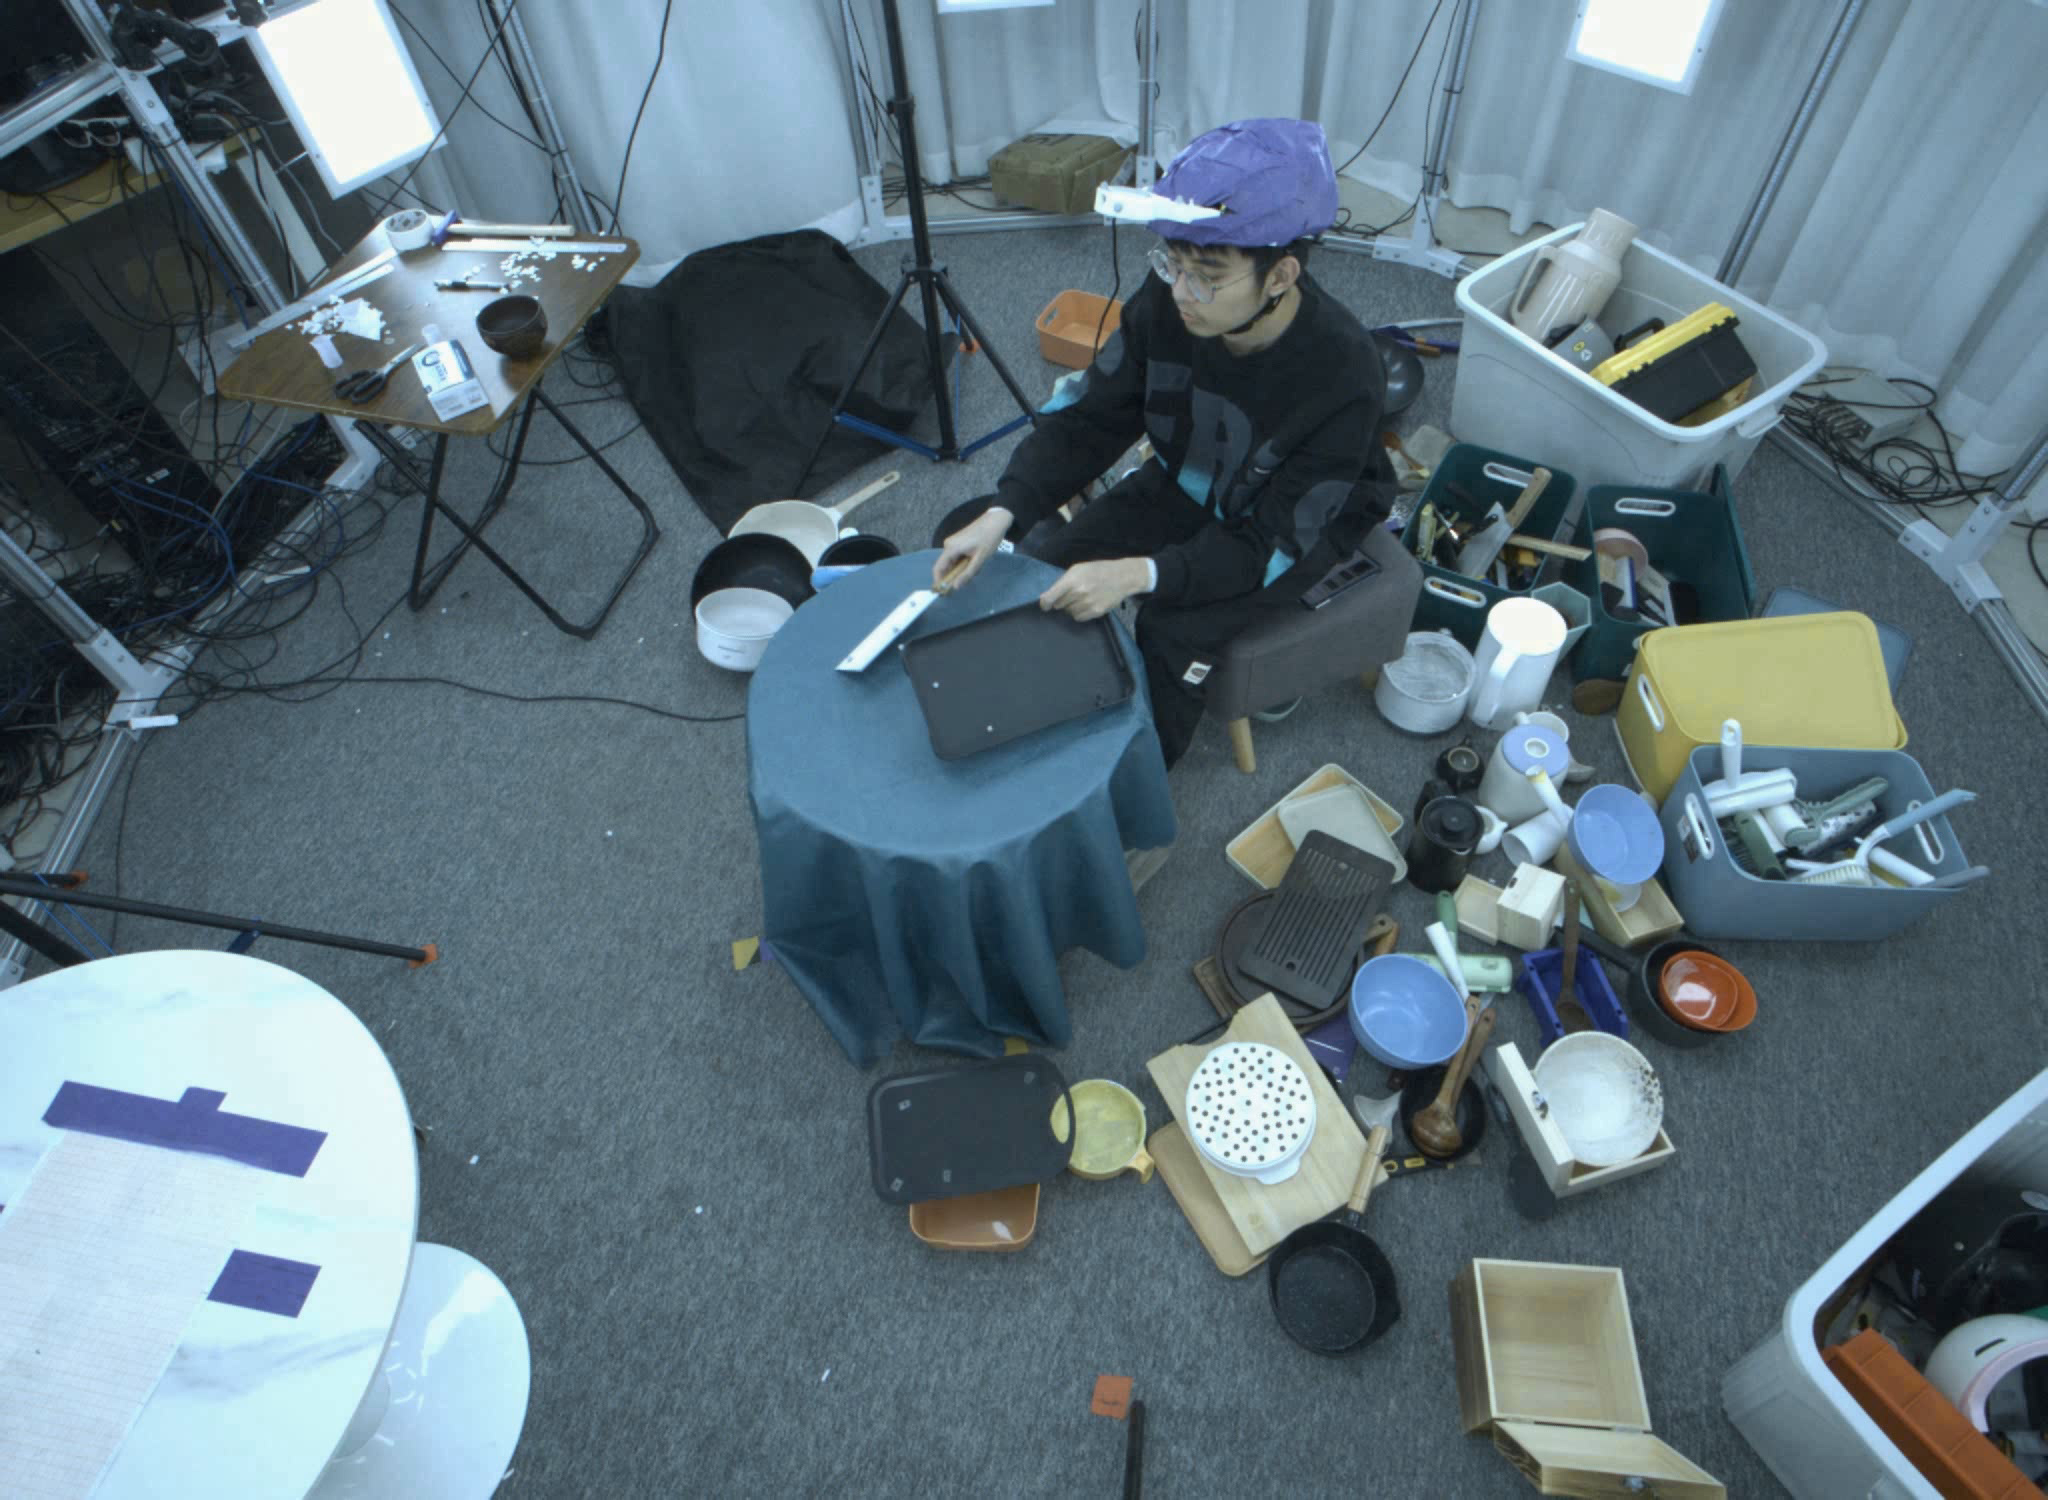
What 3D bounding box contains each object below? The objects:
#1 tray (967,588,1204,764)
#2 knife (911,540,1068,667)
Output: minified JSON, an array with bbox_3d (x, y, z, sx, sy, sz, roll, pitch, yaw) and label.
[{"bbox_3d":[0.089,-0.108,1.769,0.321,0.037,0.184,-18,88,-16],"label":"tray"},{"bbox_3d":[-0.057,-0.232,1.909,0.307,0.021,0.091,-45,35,-19],"label":"knife"}]
